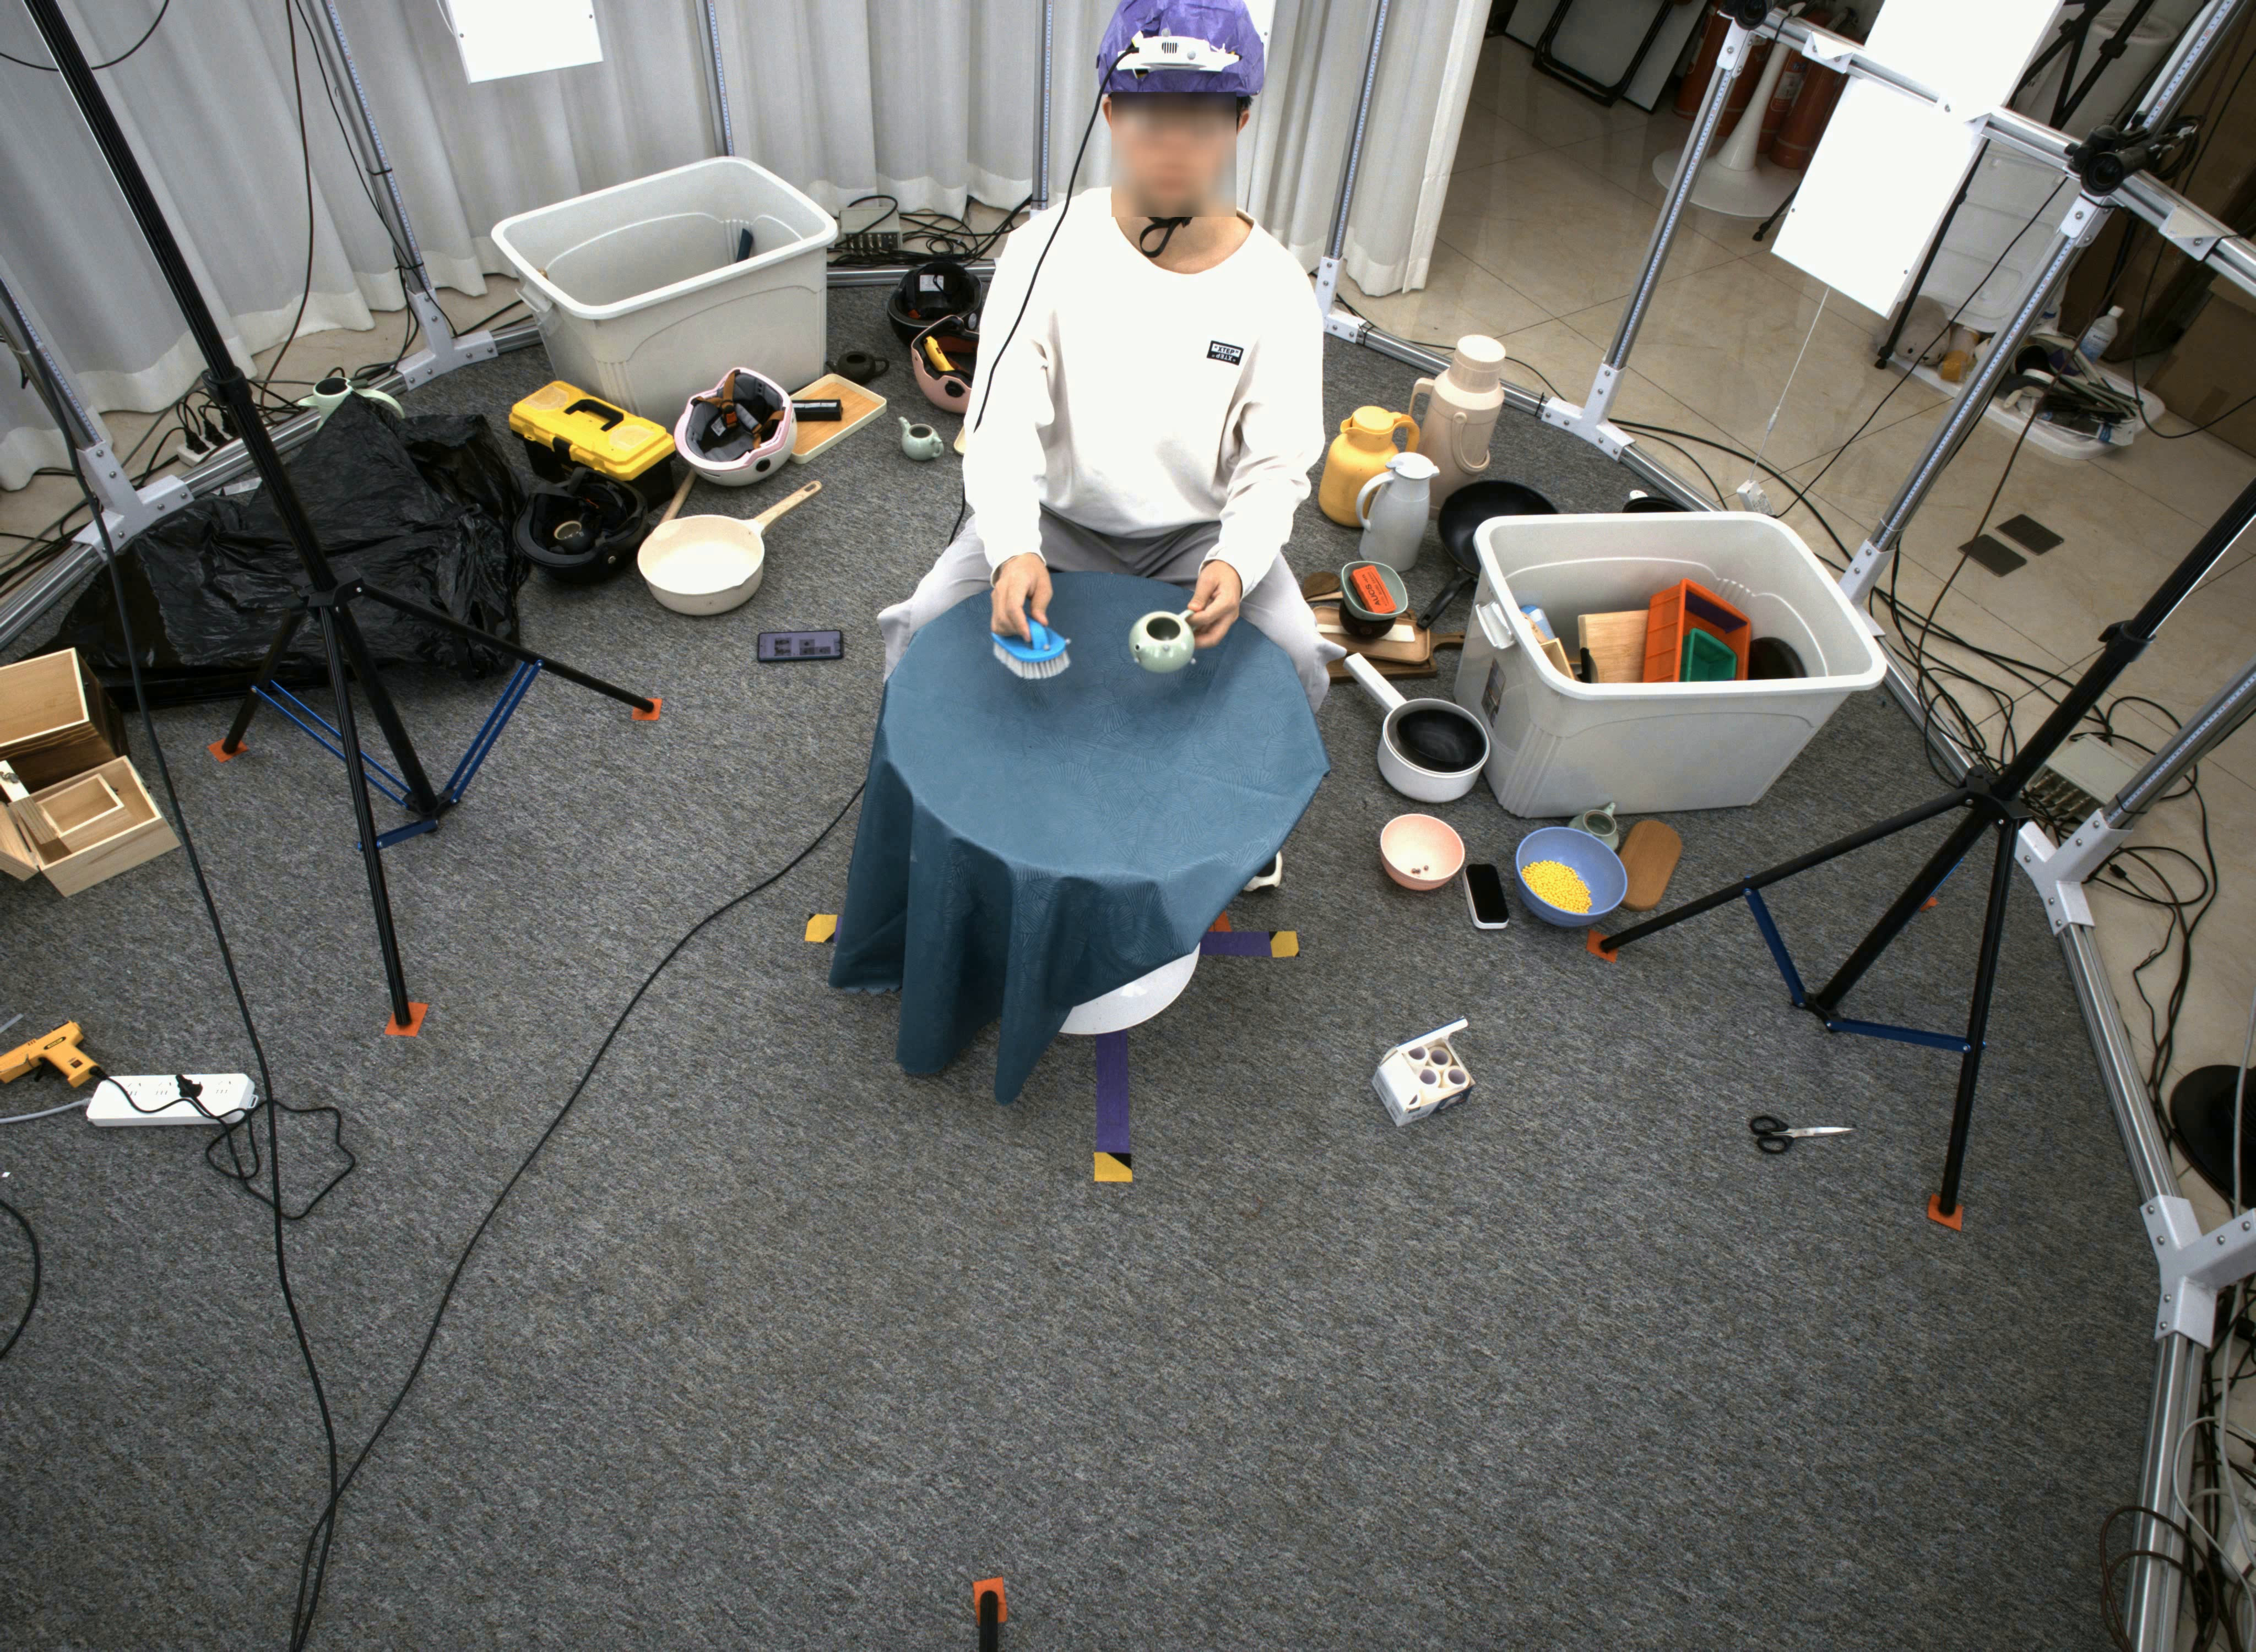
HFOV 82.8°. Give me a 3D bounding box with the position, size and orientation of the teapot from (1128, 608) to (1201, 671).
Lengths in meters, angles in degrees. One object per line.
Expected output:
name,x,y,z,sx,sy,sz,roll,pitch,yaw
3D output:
teapot,0.053,-0.261,1.773,0.129,0.059,0.093,-32,58,-27

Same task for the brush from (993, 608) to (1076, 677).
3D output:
brush,-0.132,-0.259,1.747,0.084,0.062,0.144,-27,35,-18
